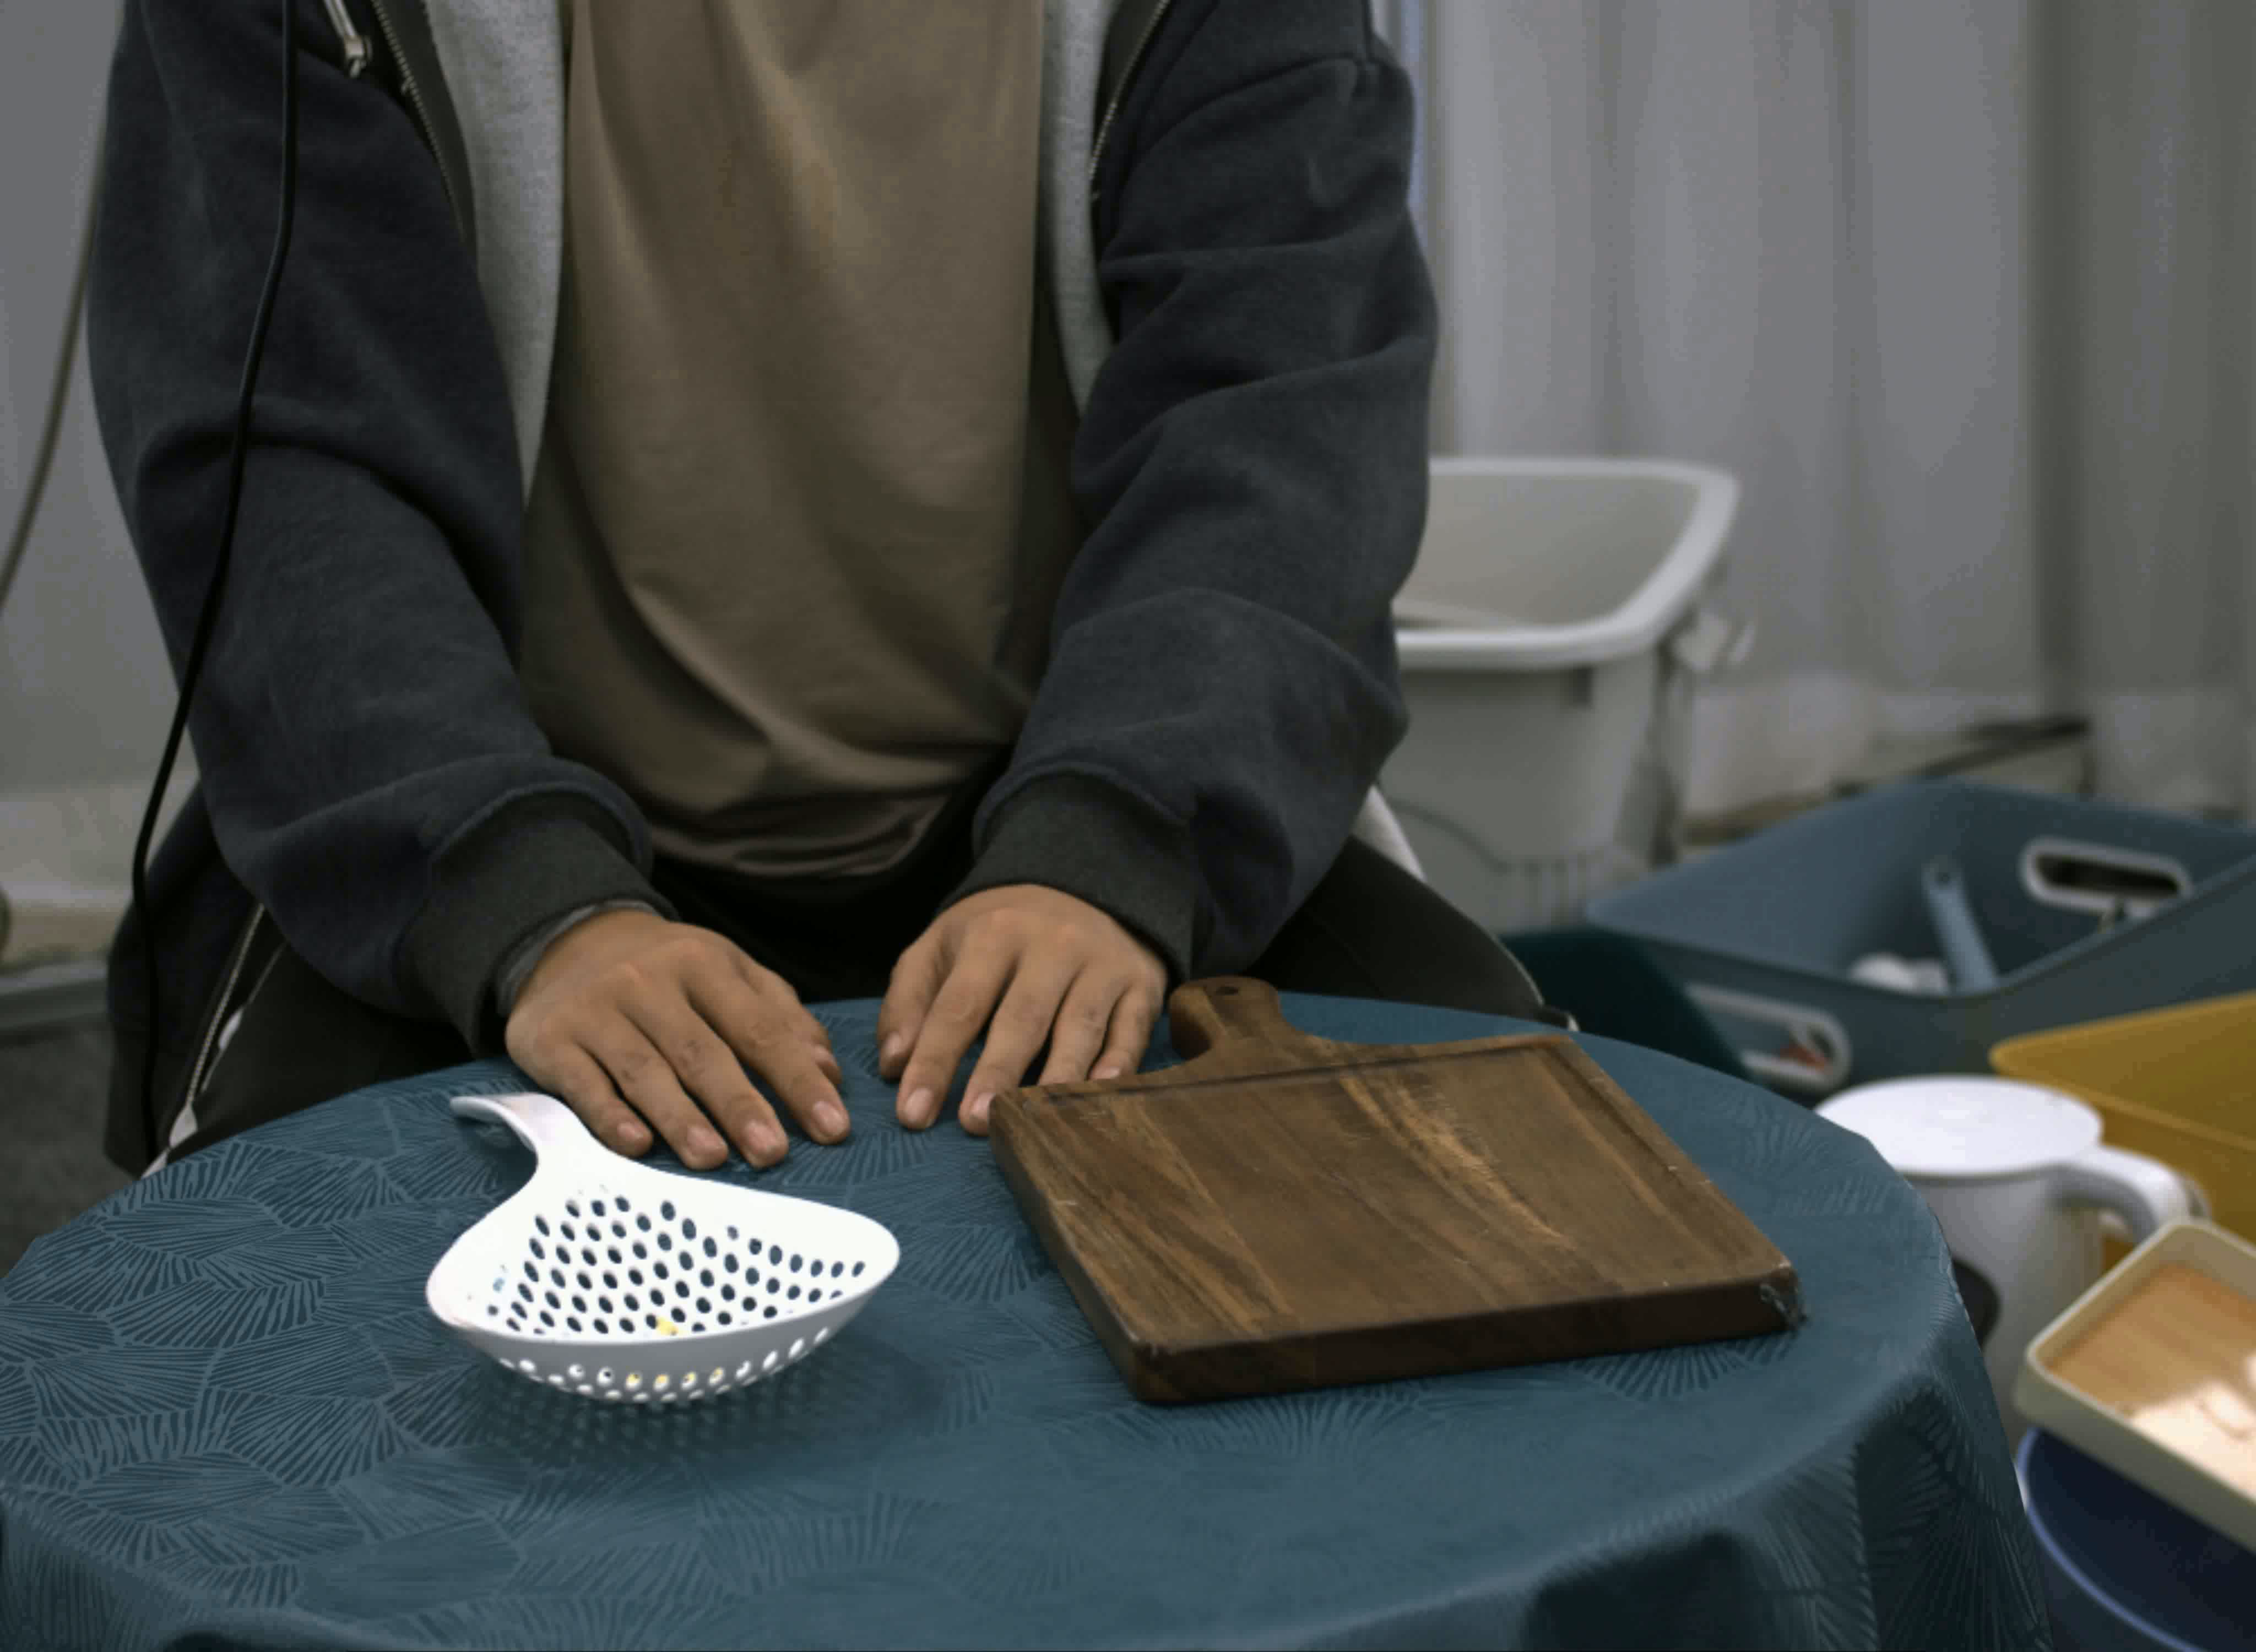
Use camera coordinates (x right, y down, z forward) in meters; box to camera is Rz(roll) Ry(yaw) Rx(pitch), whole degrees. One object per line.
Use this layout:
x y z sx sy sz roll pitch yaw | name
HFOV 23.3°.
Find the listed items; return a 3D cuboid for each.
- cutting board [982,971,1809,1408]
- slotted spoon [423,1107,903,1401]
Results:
0.064 0.103 1.709 0.200 0.023 0.355 -5 15 -11 | cutting board
-0.166 0.116 1.664 0.136 0.050 0.351 -10 16 -17 | slotted spoon
